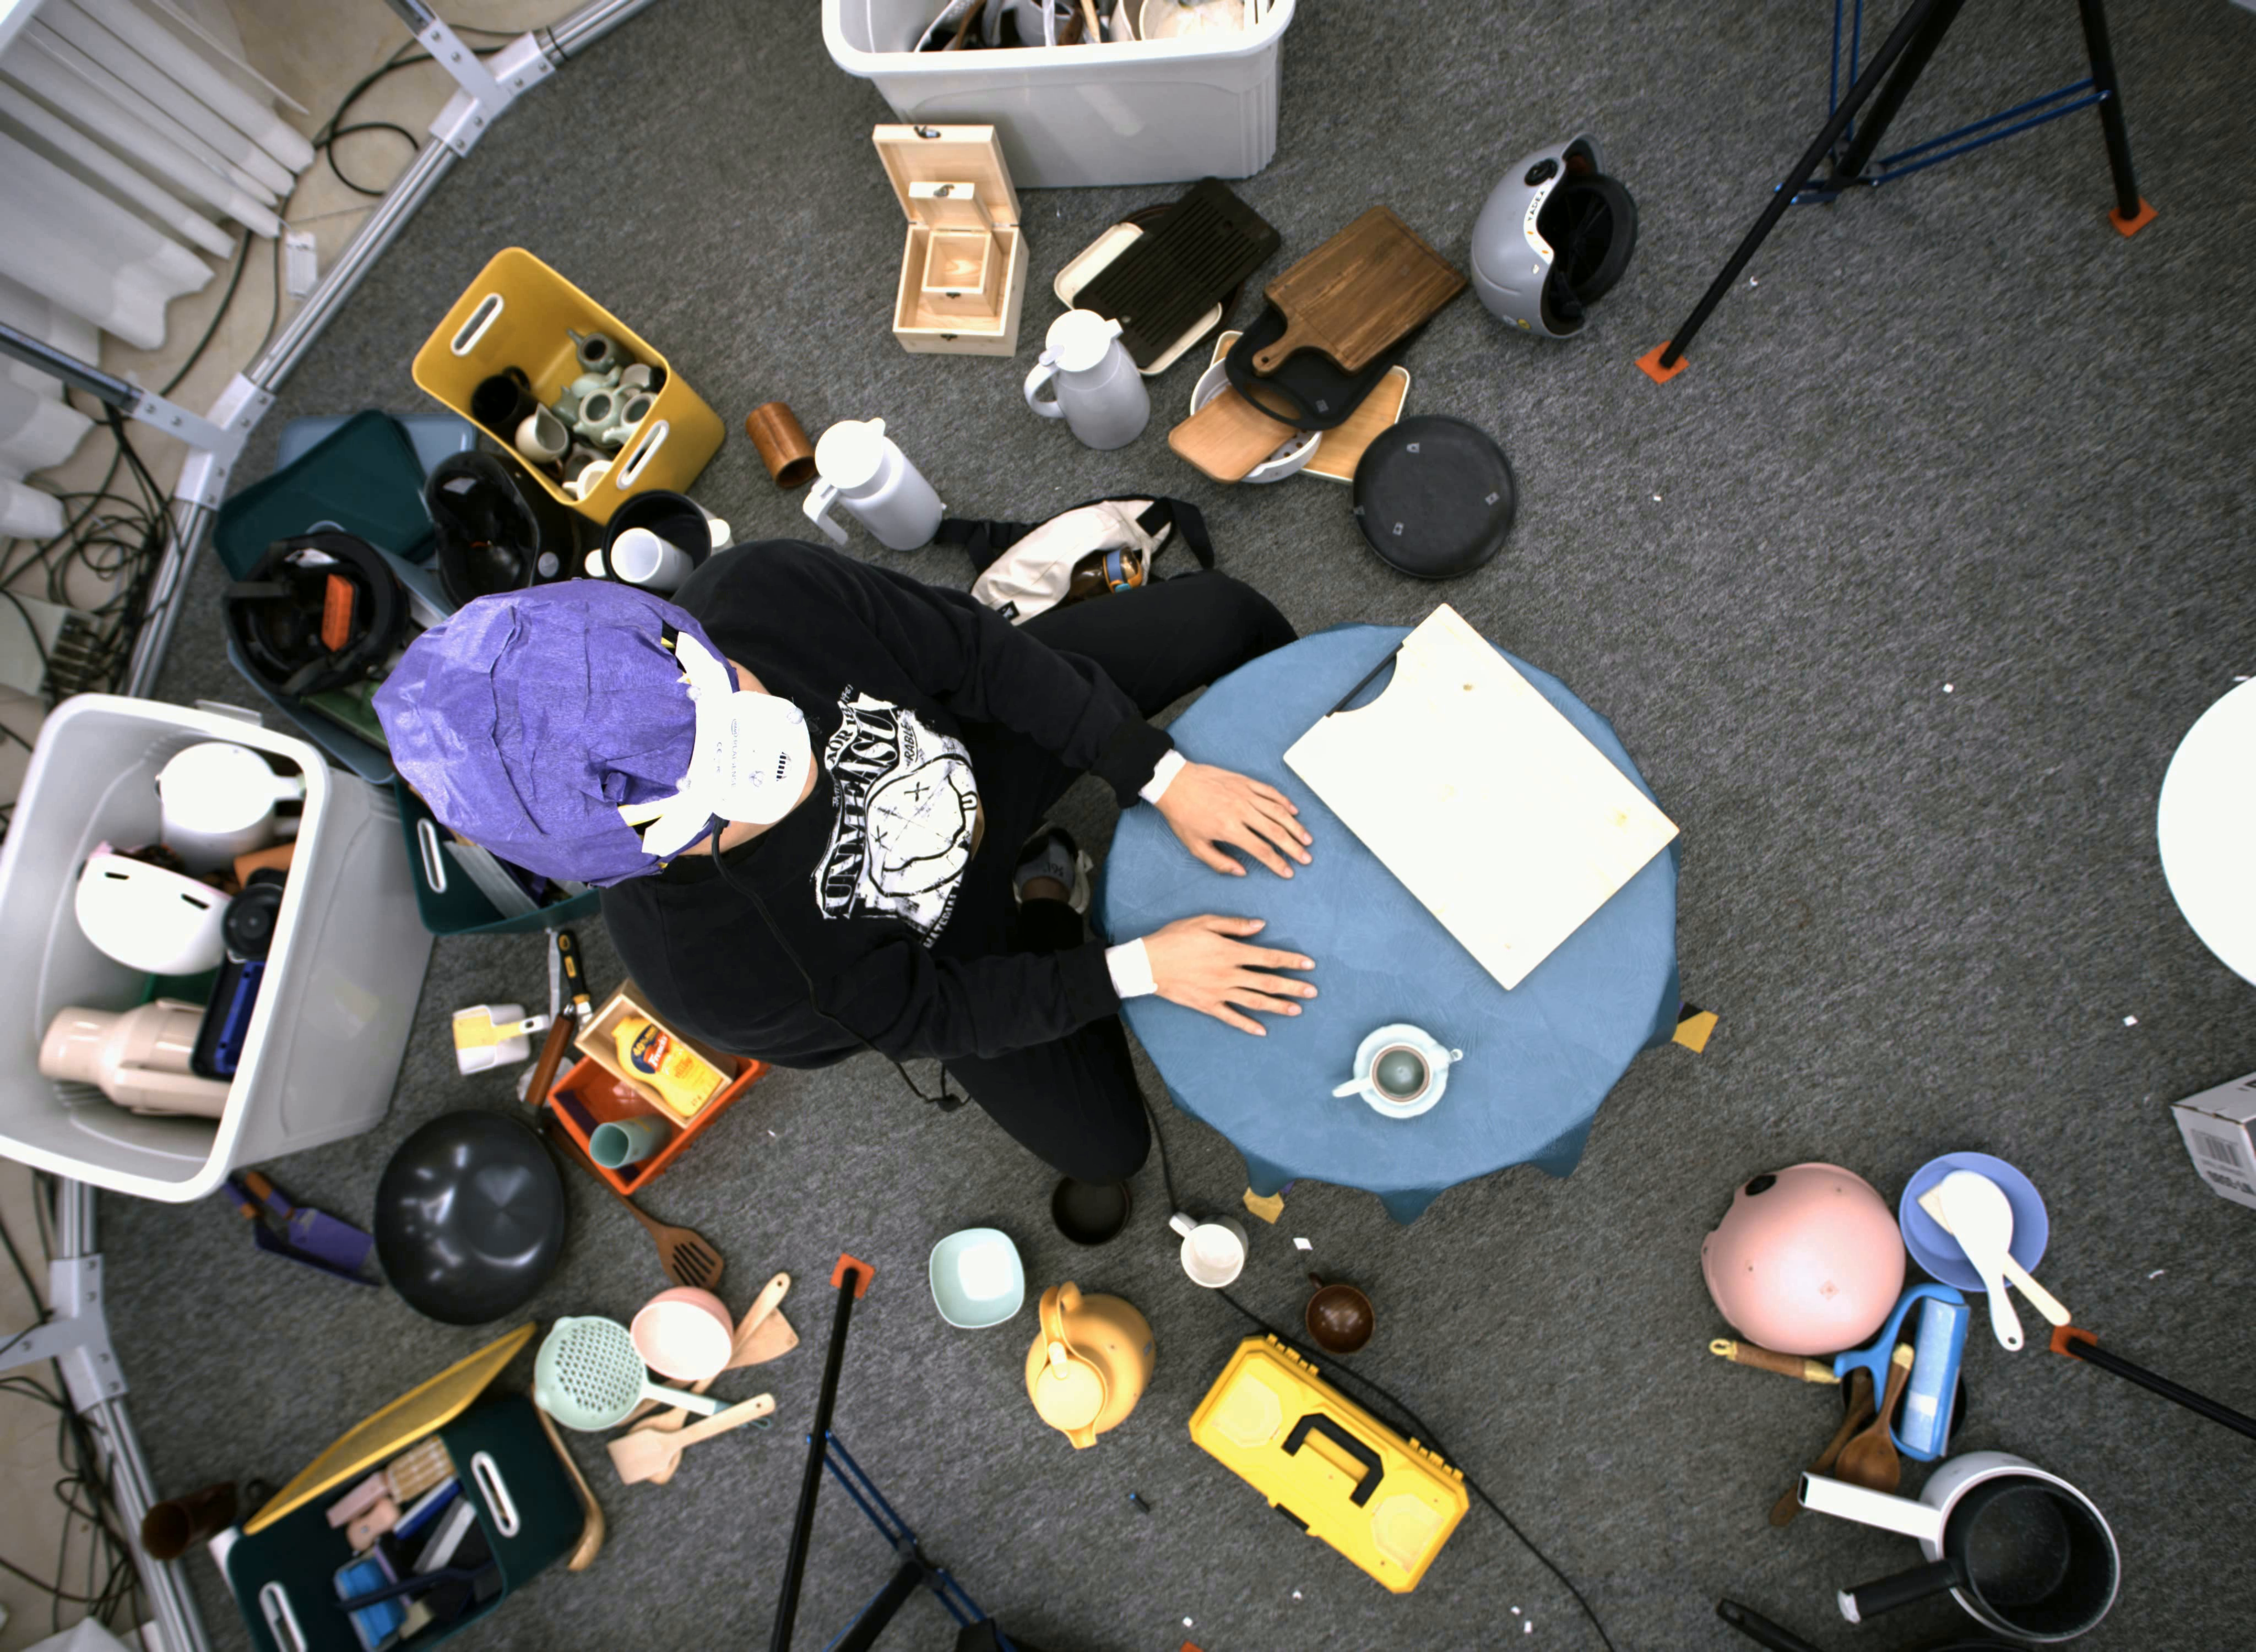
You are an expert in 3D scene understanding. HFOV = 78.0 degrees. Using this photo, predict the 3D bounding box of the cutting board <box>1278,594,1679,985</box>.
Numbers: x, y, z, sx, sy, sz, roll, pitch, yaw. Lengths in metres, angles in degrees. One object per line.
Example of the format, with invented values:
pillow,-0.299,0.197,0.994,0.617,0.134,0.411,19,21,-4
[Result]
cutting board,0.362,-0.040,1.441,0.252,0.023,0.347,-45,80,6

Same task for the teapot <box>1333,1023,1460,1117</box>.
teapot,0.275,0.252,1.421,0.138,0.061,0.095,-22,84,9
